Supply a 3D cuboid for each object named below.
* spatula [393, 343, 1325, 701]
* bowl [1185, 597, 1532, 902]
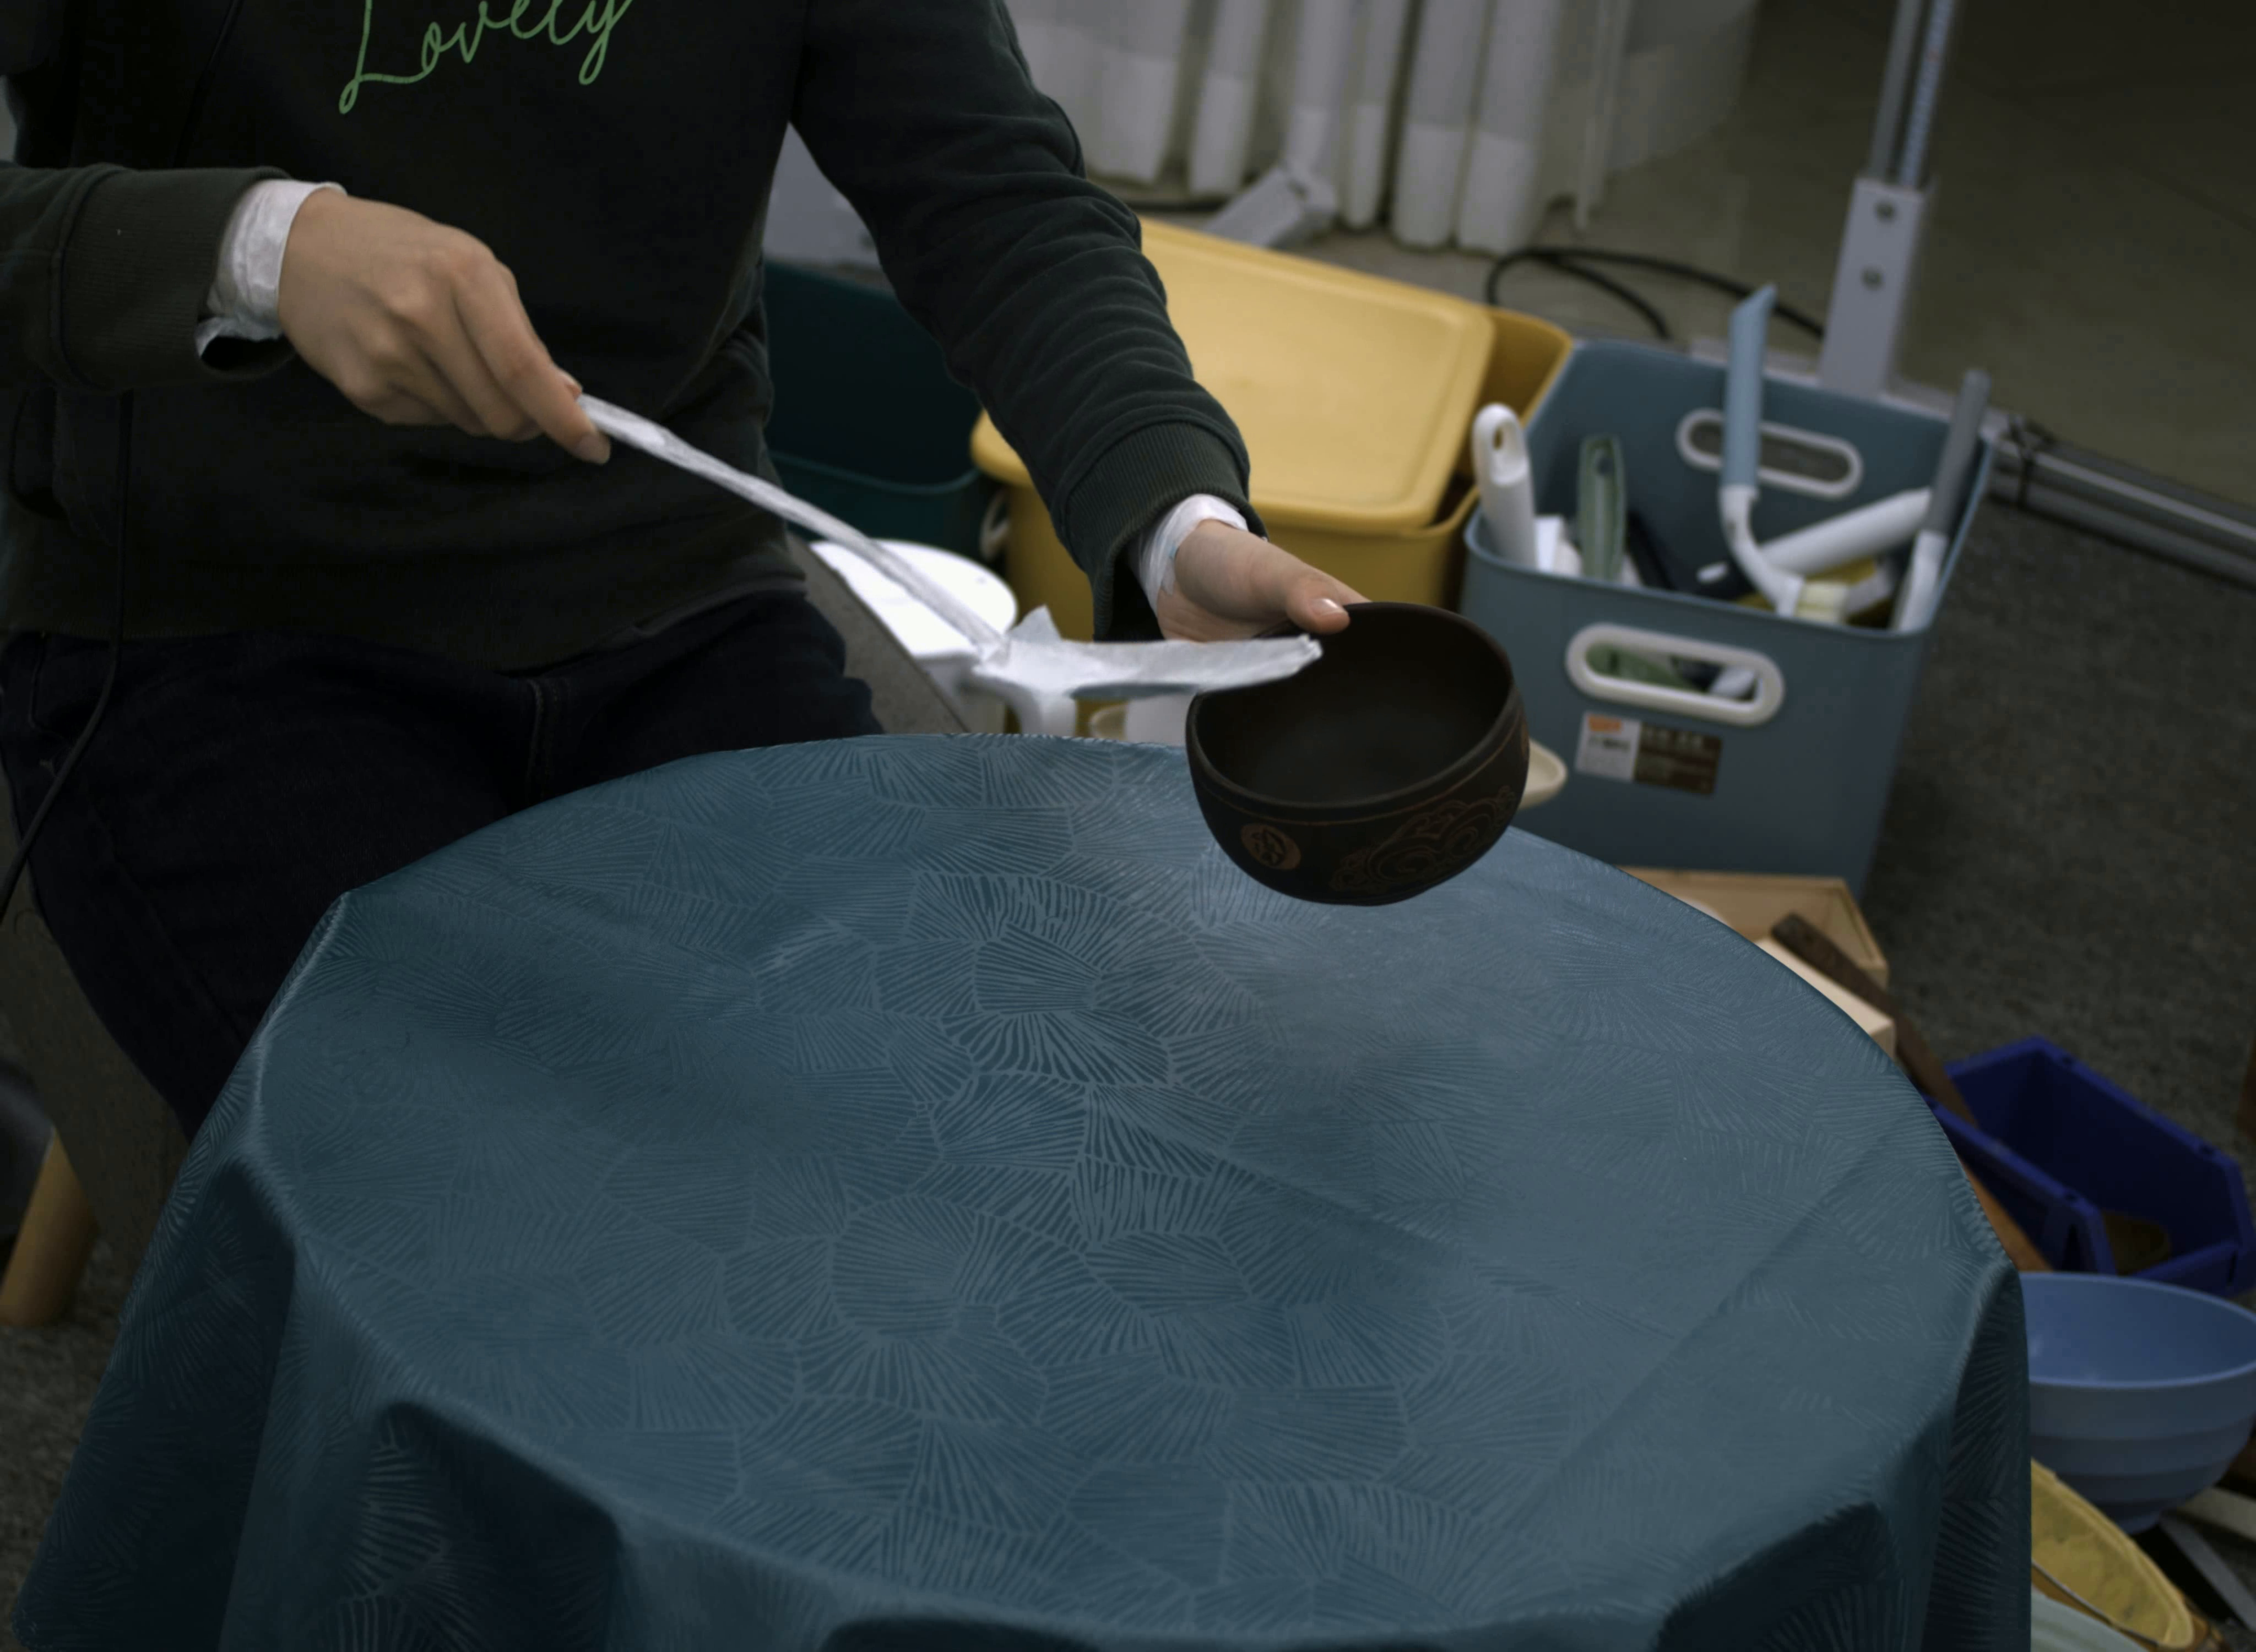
[{"bbox_3d":[-0.105,-0.106,1.739,0.367,0.045,0.098,27,24,25],"label":"spatula"},{"bbox_3d":[0.082,-0.018,1.834,0.118,0.069,0.119,-8,36,6],"label":"bowl"}]
